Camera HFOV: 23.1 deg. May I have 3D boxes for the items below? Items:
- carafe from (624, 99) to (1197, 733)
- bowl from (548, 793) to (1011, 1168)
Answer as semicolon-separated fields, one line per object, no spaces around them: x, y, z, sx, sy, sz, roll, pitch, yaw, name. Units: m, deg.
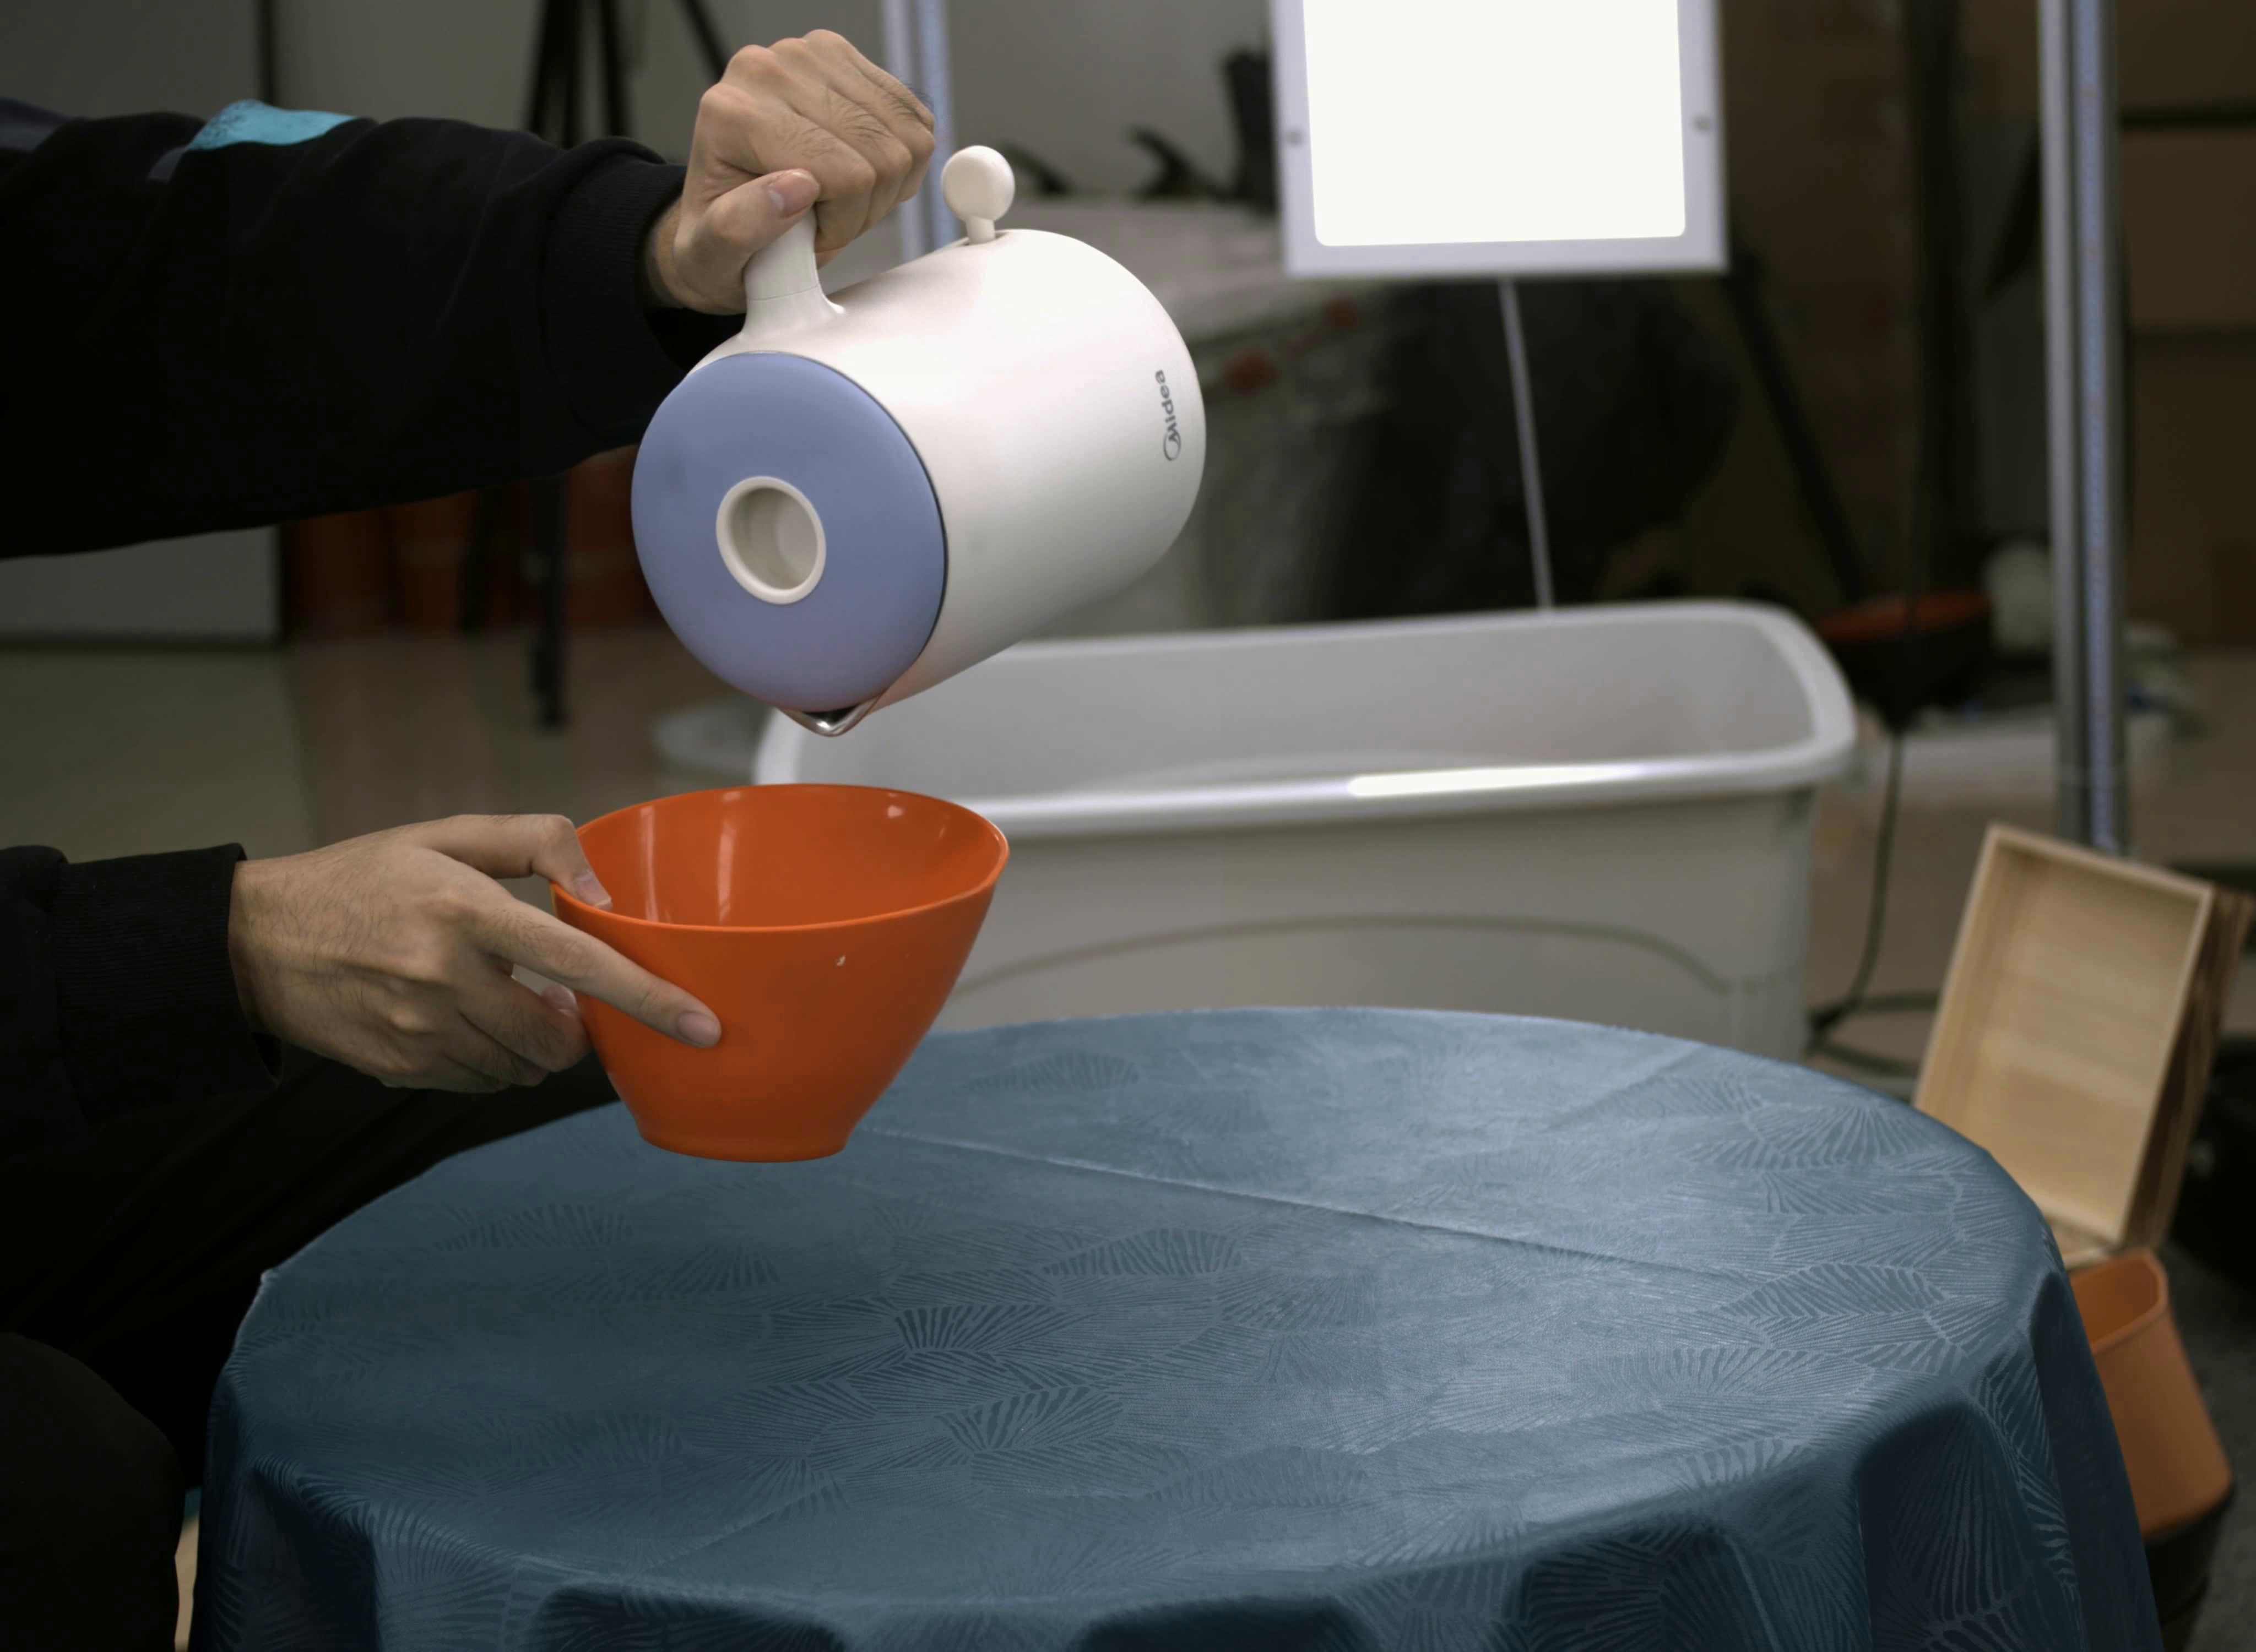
-0.075;-0.141;1.811;0.135;0.191;0.178;-5;12;33;carafe
-0.114;0.050;1.764;0.147;0.105;0.148;3;9;-2;bowl
